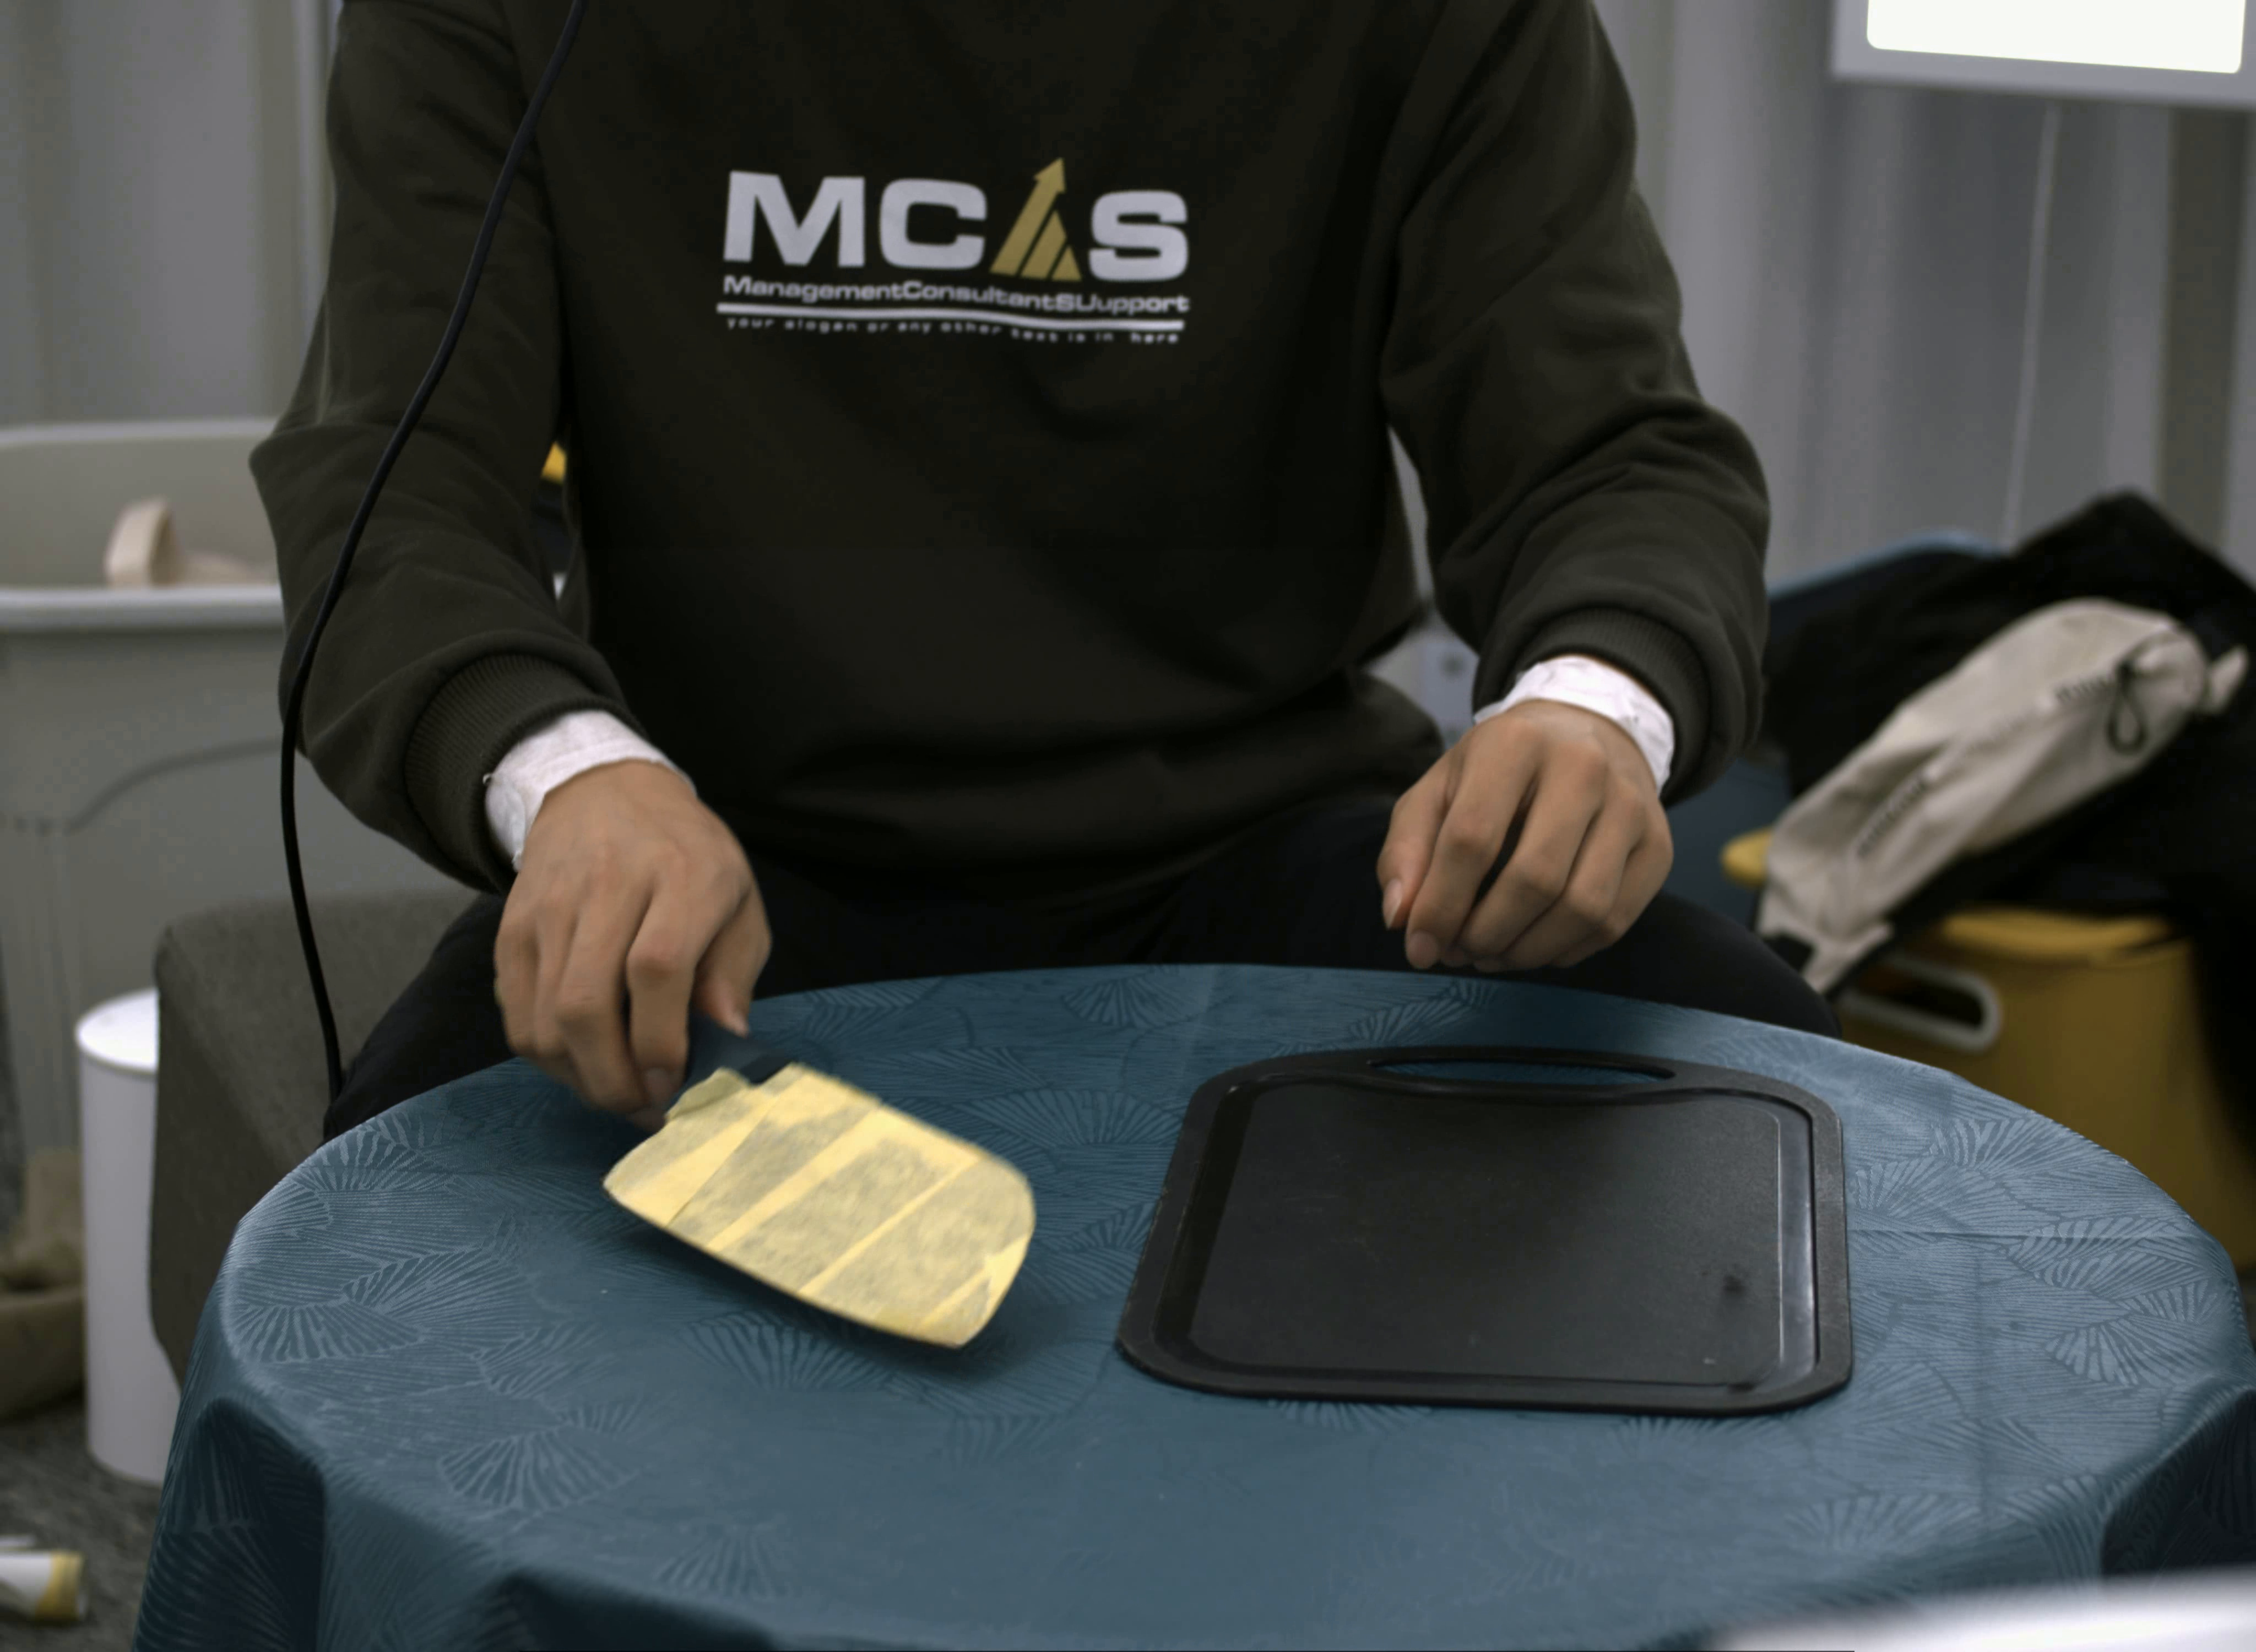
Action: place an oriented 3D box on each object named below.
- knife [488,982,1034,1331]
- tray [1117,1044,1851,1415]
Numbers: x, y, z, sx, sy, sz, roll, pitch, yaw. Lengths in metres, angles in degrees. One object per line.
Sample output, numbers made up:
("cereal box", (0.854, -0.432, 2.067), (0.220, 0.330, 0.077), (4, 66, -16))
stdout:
("knife", (-0.122, 0.098, 1.578), (0.081, 0.027, 0.285), (-32, 32, -26))
("tray", (0.114, 0.115, 1.605), (0.210, 0.010, 0.324), (2, 15, 6))
